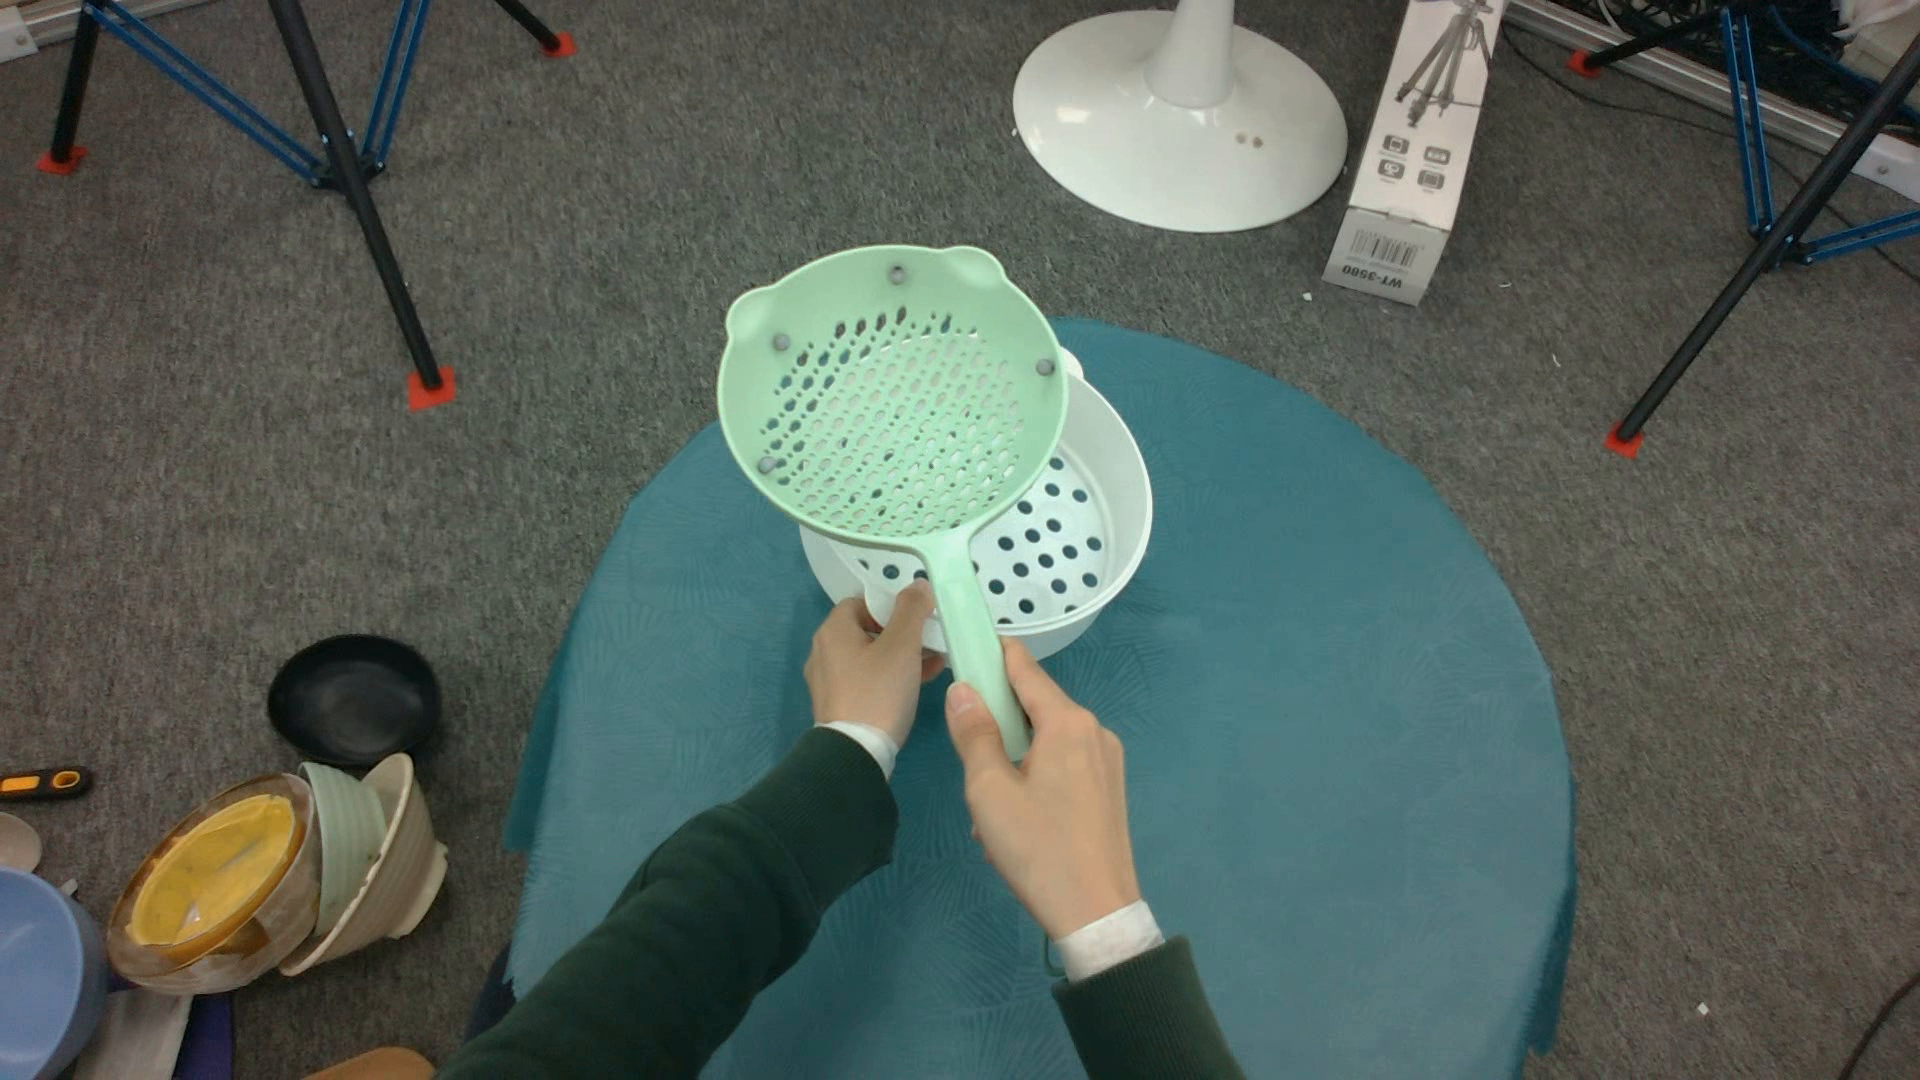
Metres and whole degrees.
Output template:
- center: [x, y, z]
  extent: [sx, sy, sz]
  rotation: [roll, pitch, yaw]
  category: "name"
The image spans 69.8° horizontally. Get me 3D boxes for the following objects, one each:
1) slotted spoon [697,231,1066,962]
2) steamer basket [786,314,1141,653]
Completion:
- center: [-0.013, 0.009, 0.628]
  extent: [0.169, 0.075, 0.360]
  rotation: [-14, 57, -9]
  category: "slotted spoon"
- center: [-0.001, -0.031, 0.794]
  extent: [0.202, 0.069, 0.232]
  rotation: [20, 56, -2]
  category: "steamer basket"
